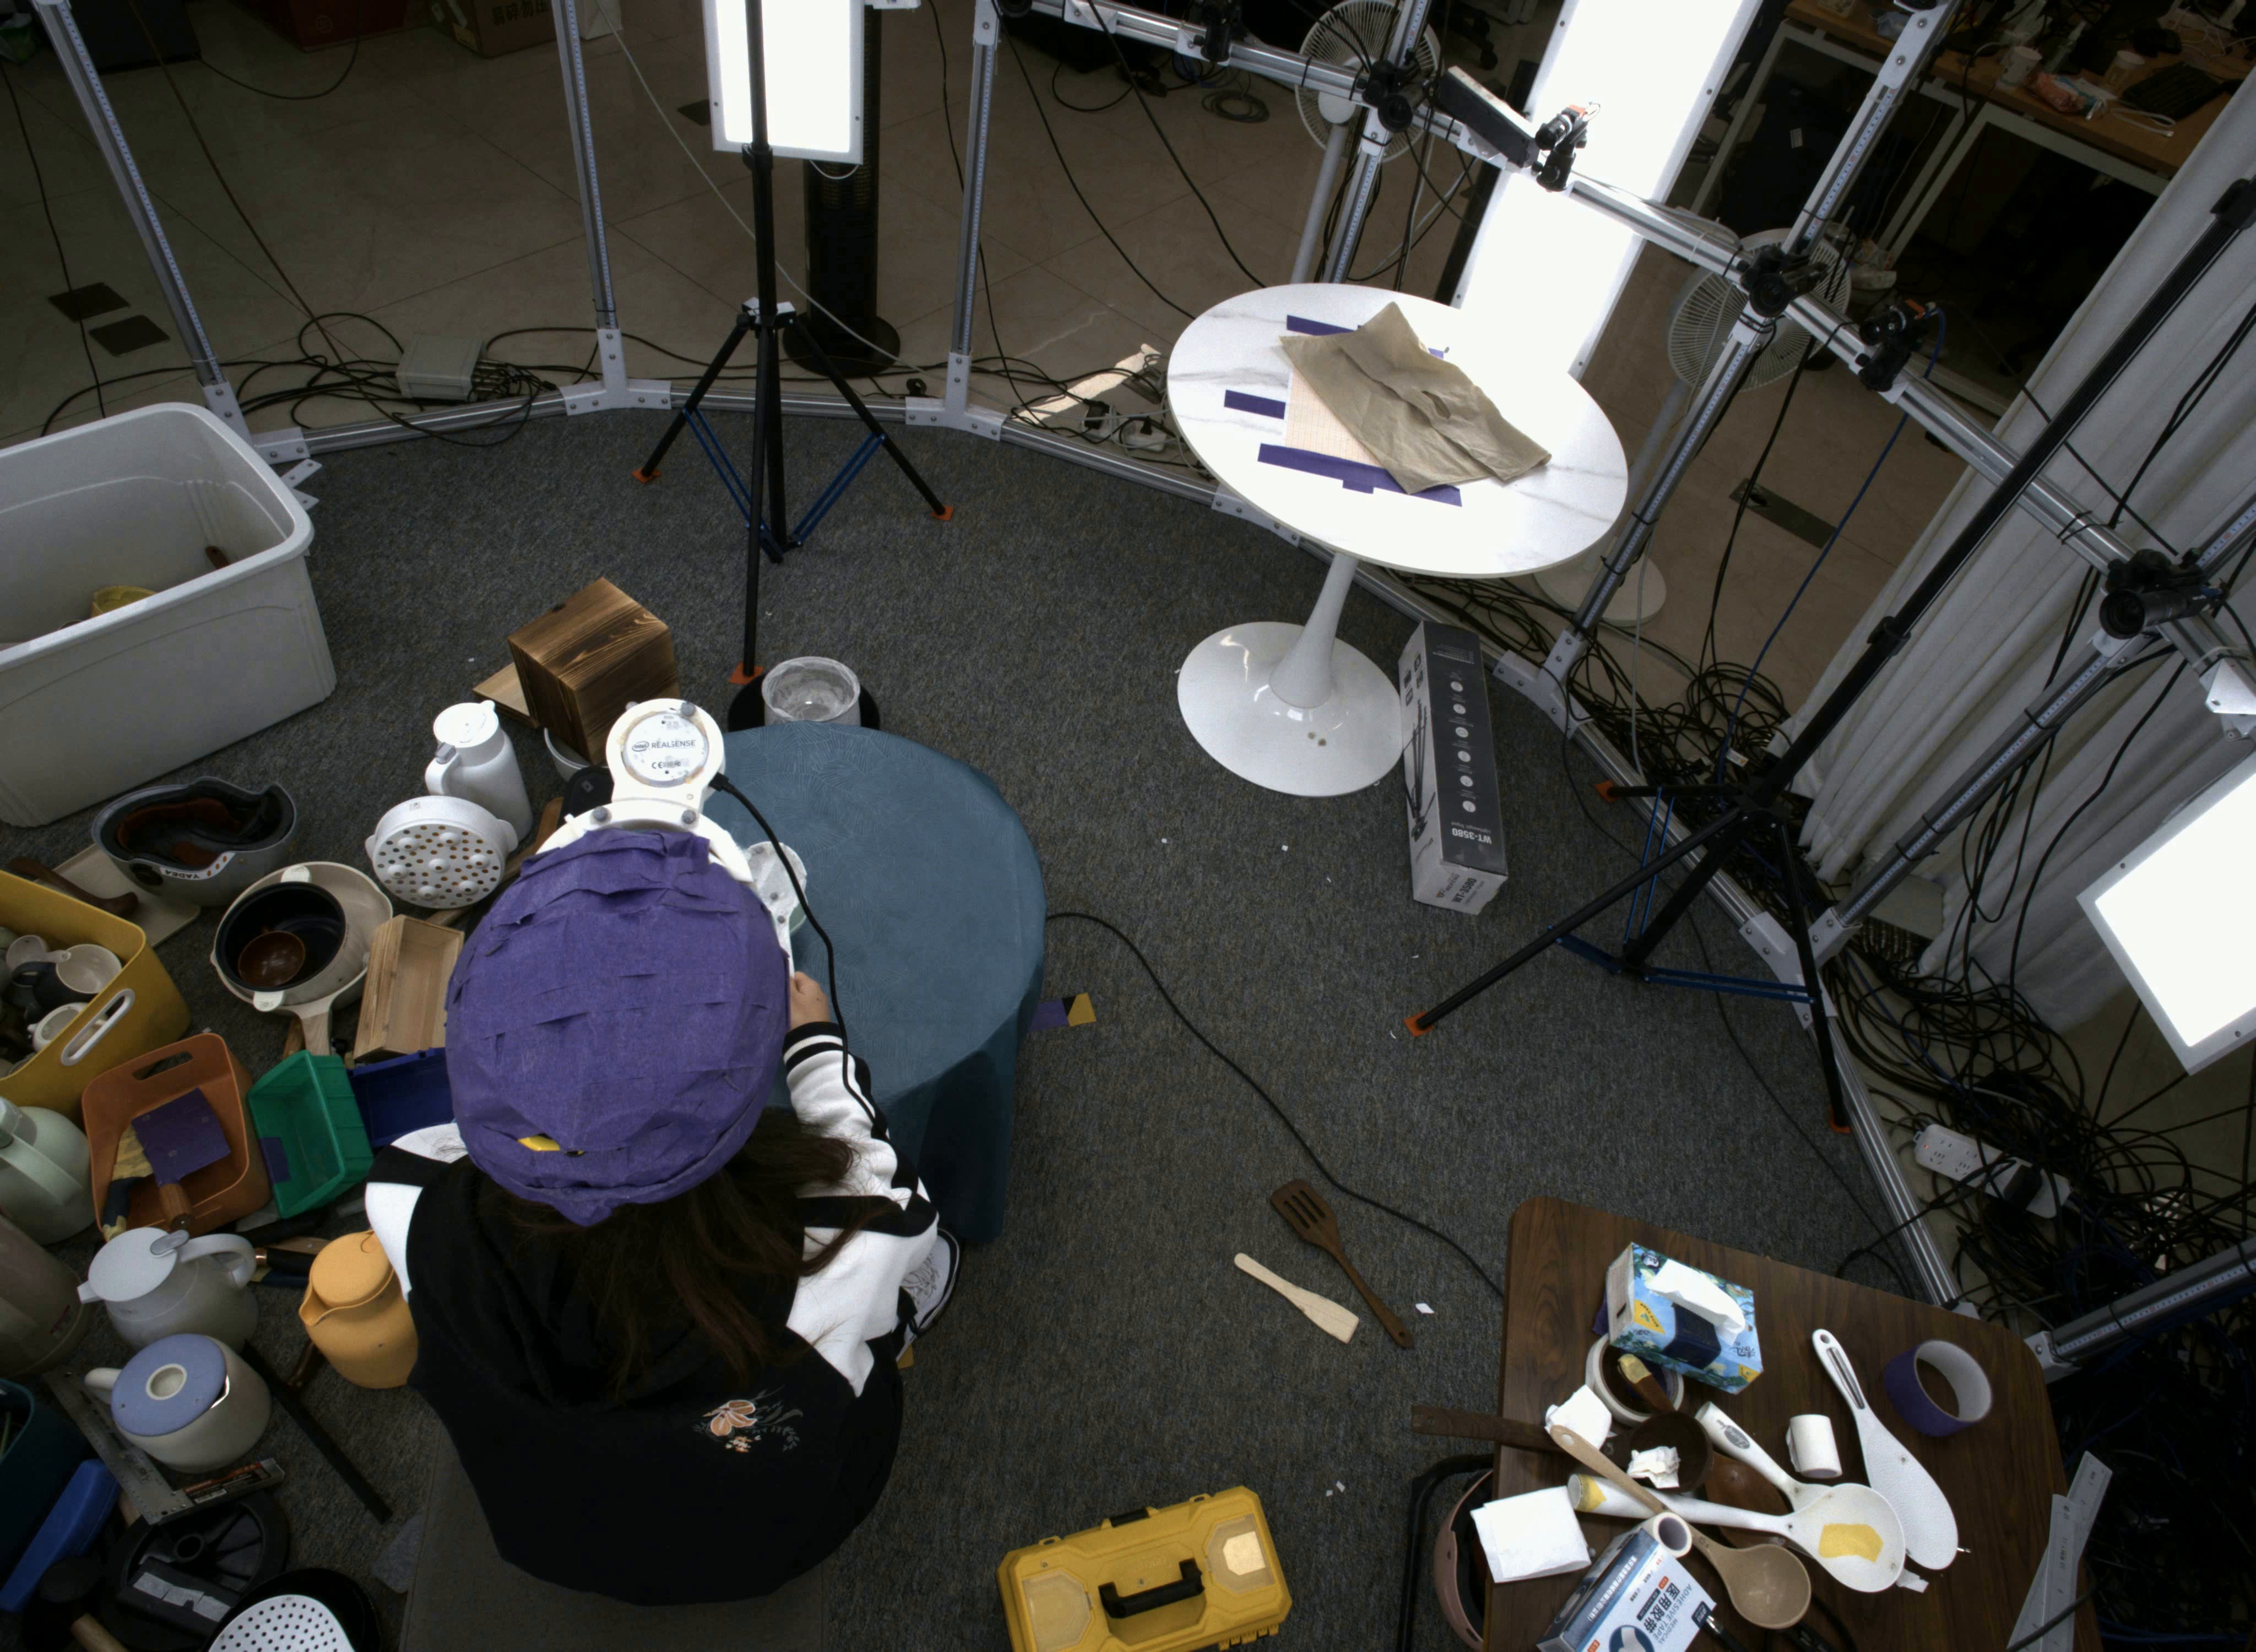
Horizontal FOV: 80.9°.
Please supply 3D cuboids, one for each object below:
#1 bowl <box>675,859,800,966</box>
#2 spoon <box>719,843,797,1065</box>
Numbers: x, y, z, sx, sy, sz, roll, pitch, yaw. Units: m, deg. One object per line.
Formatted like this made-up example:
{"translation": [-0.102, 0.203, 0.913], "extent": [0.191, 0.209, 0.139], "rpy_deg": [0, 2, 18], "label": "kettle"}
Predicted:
{"translation": [-0.478, 0.113, 1.587], "extent": [0.151, 0.060, 0.149], "rpy_deg": [8, 52, -8], "label": "bowl"}
{"translation": [-0.424, 0.143, 1.492], "extent": [0.099, 0.061, 0.270], "rpy_deg": [-23, 53, 10], "label": "spoon"}
